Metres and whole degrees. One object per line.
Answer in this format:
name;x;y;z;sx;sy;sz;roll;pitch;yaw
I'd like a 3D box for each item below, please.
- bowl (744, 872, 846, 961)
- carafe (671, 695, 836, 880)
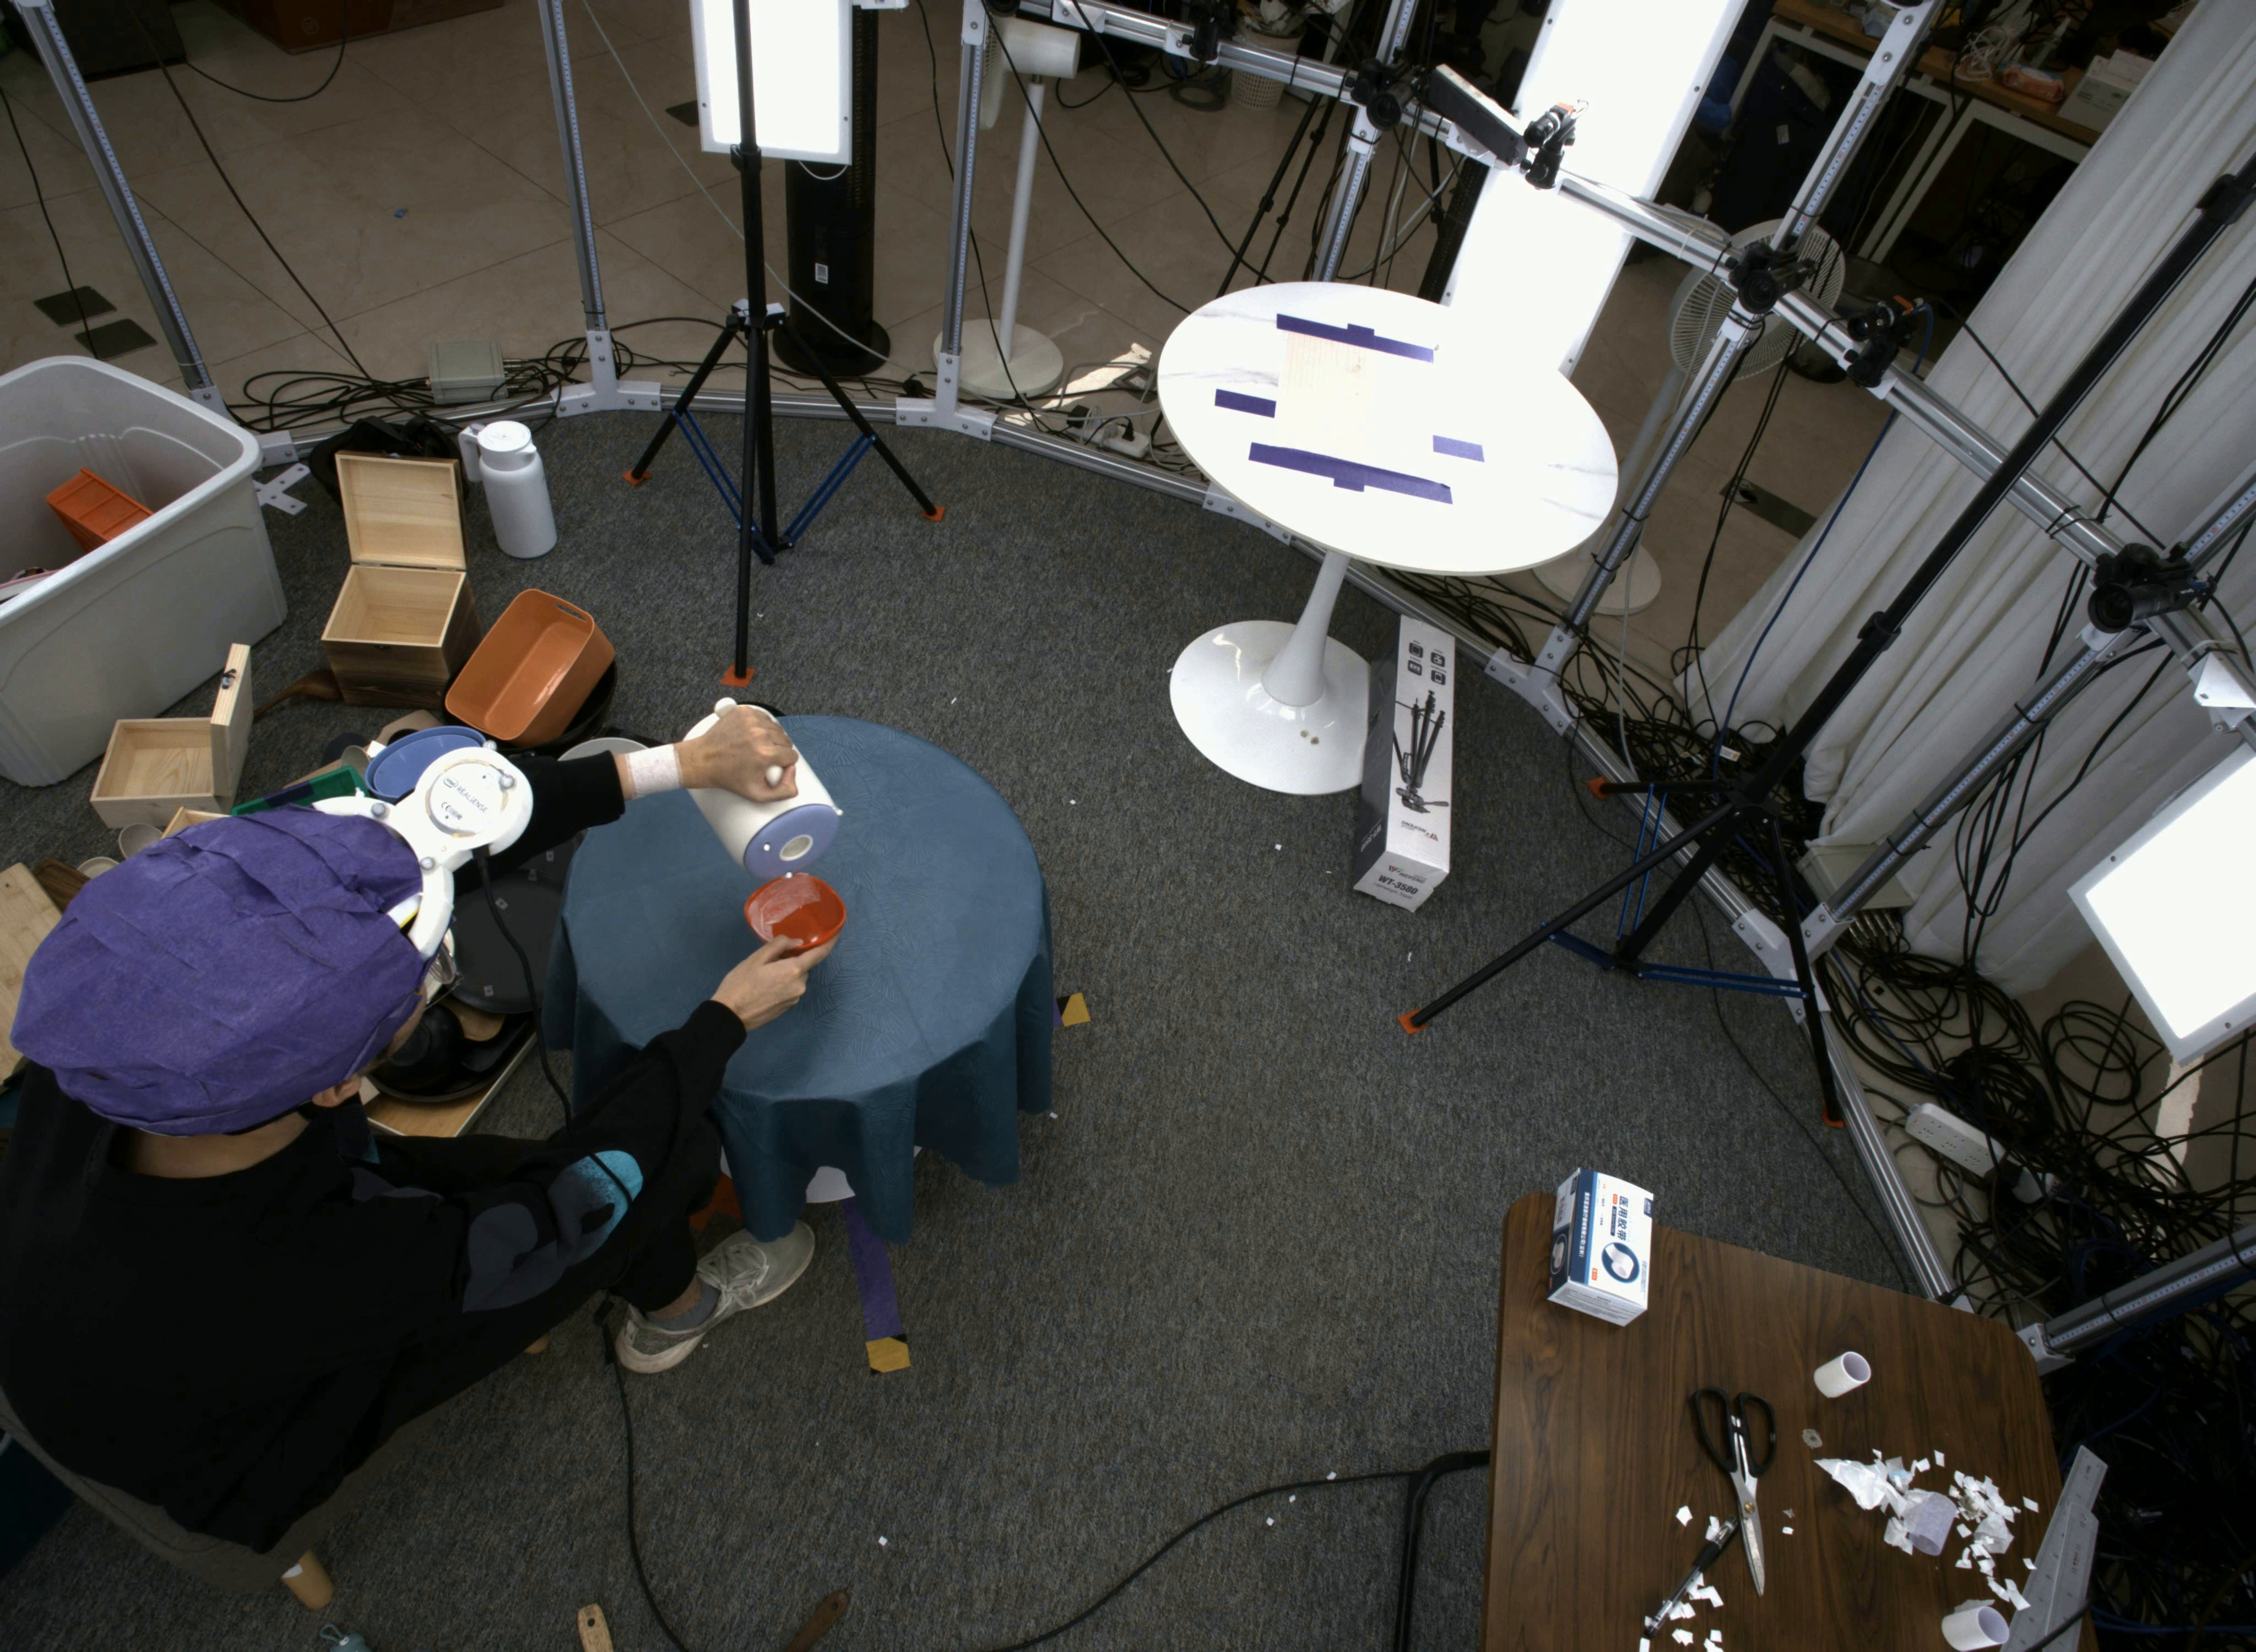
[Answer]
bowl;-0.398;0.114;1.549;0.119;0.052;0.116;11;45;-9
carafe;-0.428;-0.056;1.466;0.132;0.196;0.178;-31;63;-25
